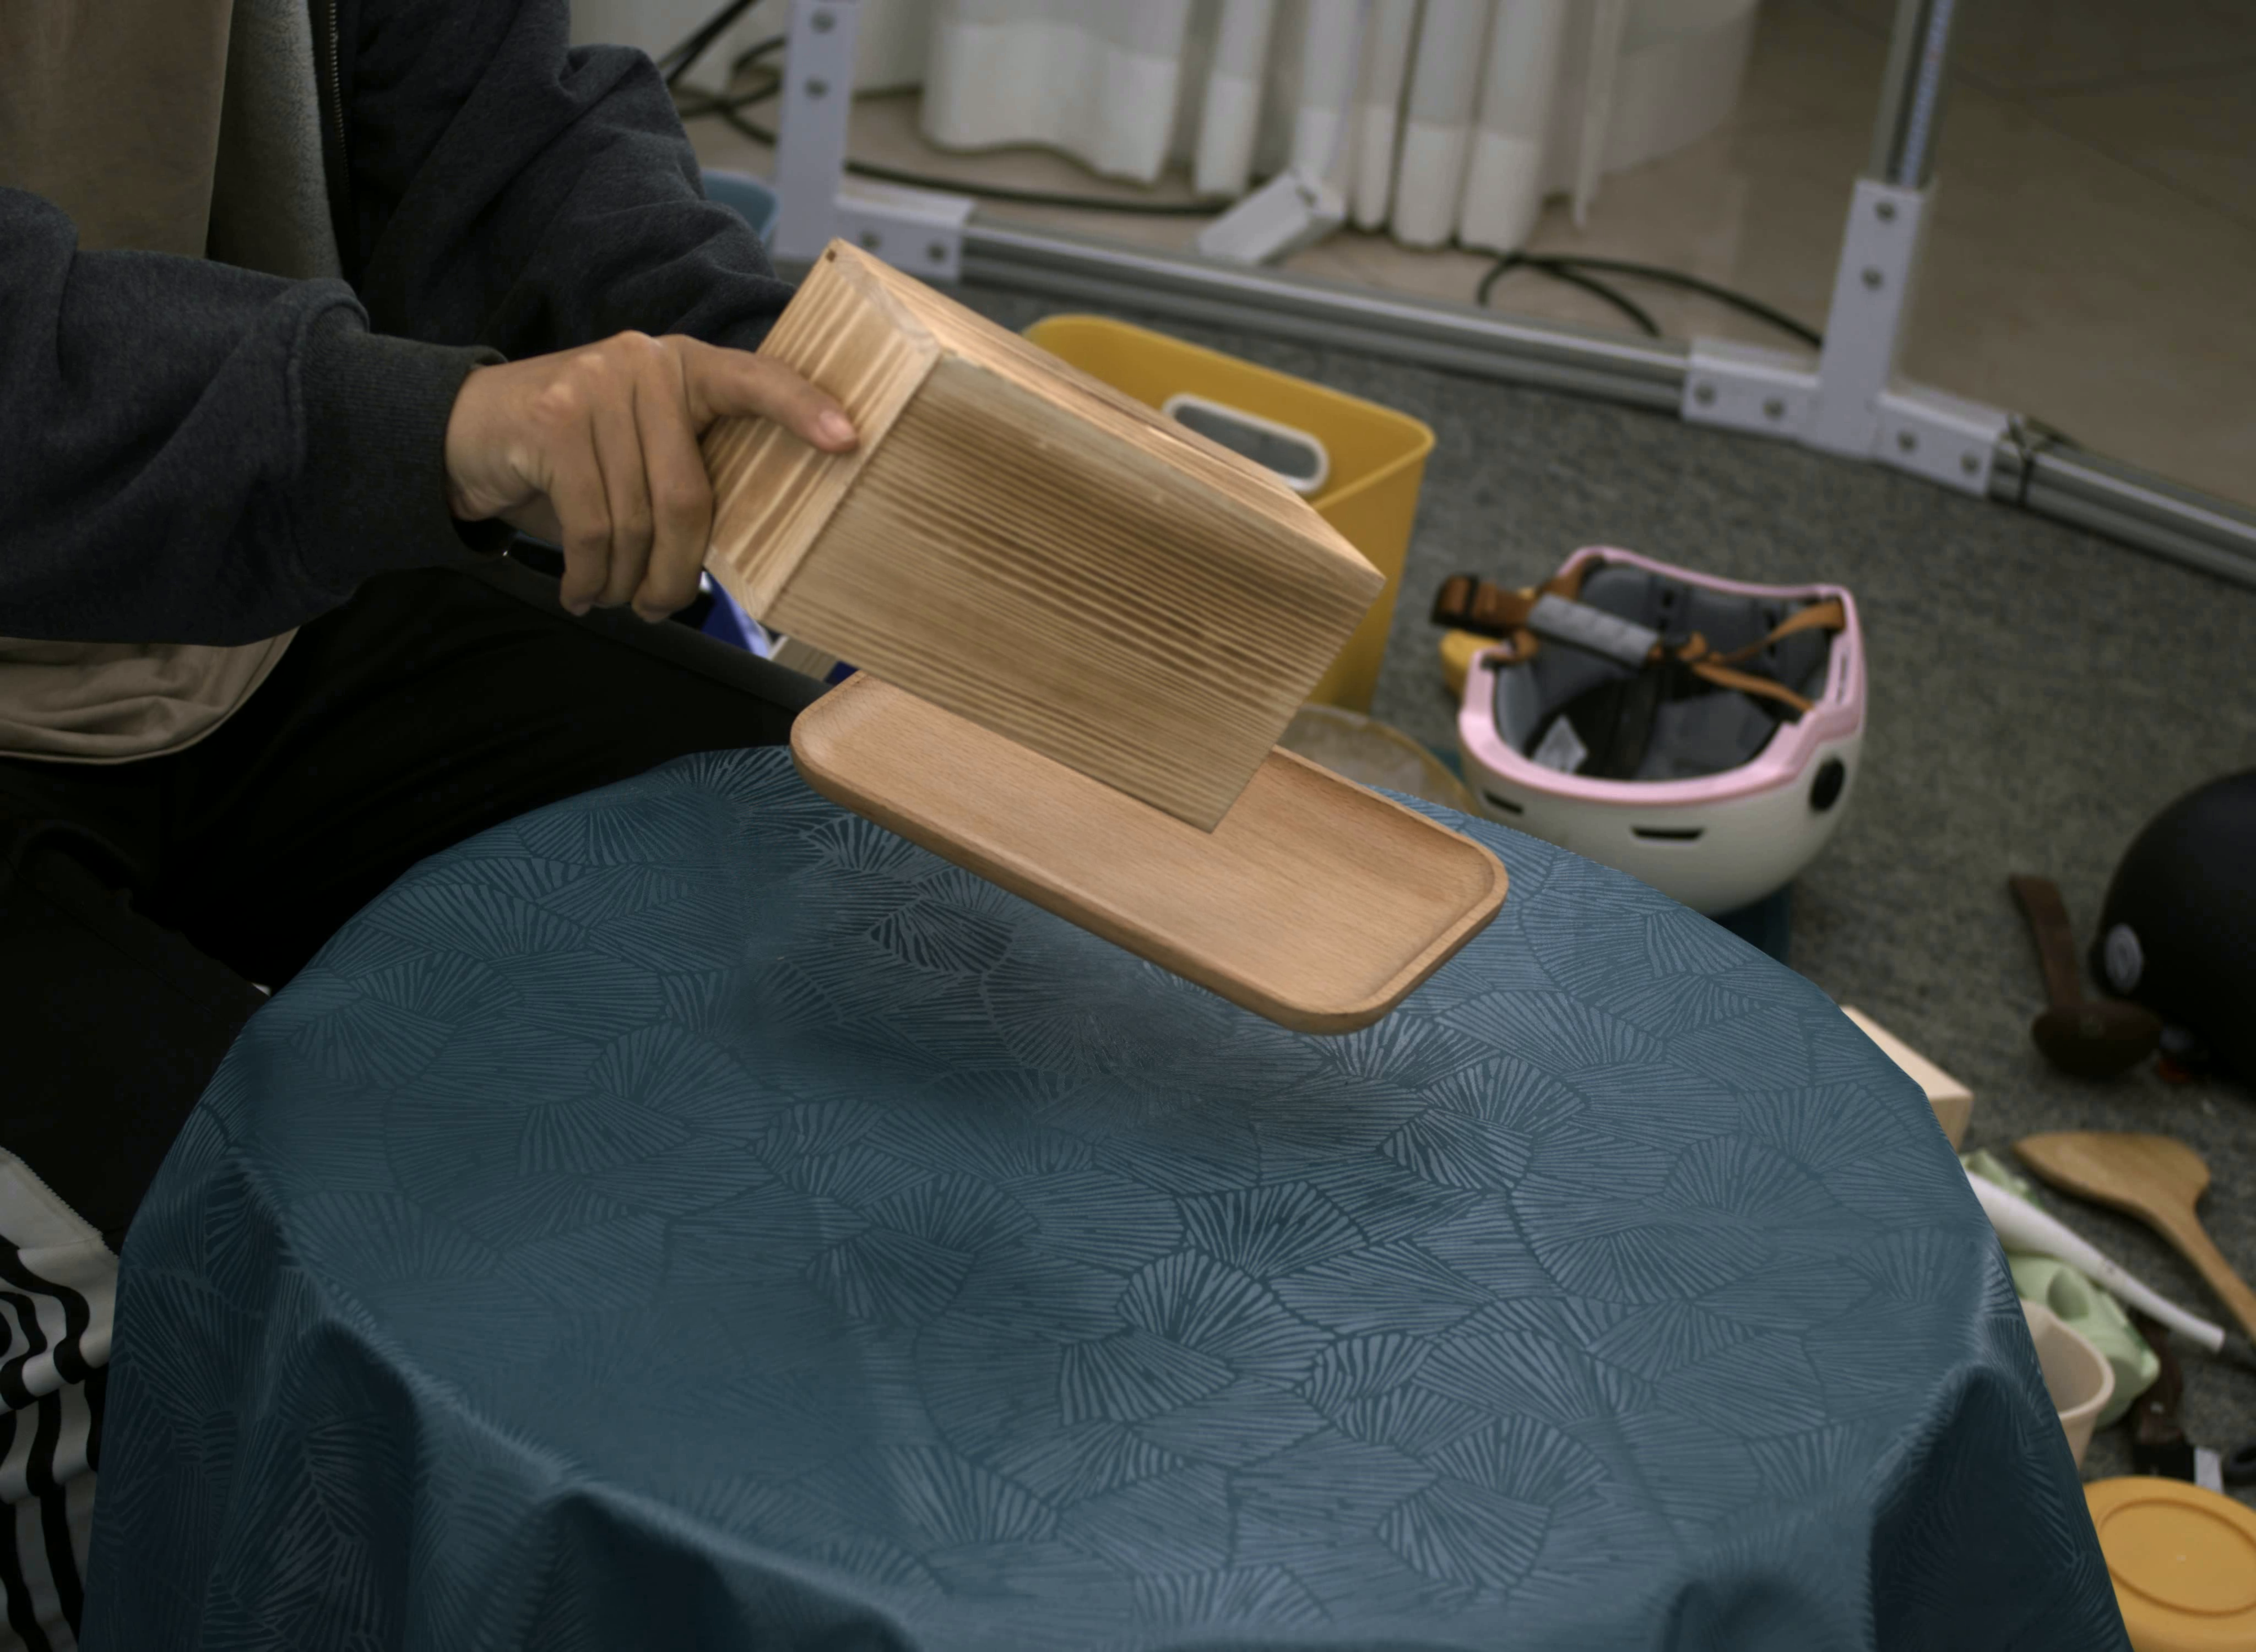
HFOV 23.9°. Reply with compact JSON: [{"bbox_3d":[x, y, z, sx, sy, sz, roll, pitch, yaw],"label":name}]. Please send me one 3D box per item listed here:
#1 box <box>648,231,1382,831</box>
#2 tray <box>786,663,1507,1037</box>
[{"bbox_3d":[-0.034,-0.093,1.724,0.209,0.107,0.081,26,15,-41],"label":"box"},{"bbox_3d":[0.005,-0.003,1.877,0.252,0.023,0.130,26,37,25],"label":"tray"}]
